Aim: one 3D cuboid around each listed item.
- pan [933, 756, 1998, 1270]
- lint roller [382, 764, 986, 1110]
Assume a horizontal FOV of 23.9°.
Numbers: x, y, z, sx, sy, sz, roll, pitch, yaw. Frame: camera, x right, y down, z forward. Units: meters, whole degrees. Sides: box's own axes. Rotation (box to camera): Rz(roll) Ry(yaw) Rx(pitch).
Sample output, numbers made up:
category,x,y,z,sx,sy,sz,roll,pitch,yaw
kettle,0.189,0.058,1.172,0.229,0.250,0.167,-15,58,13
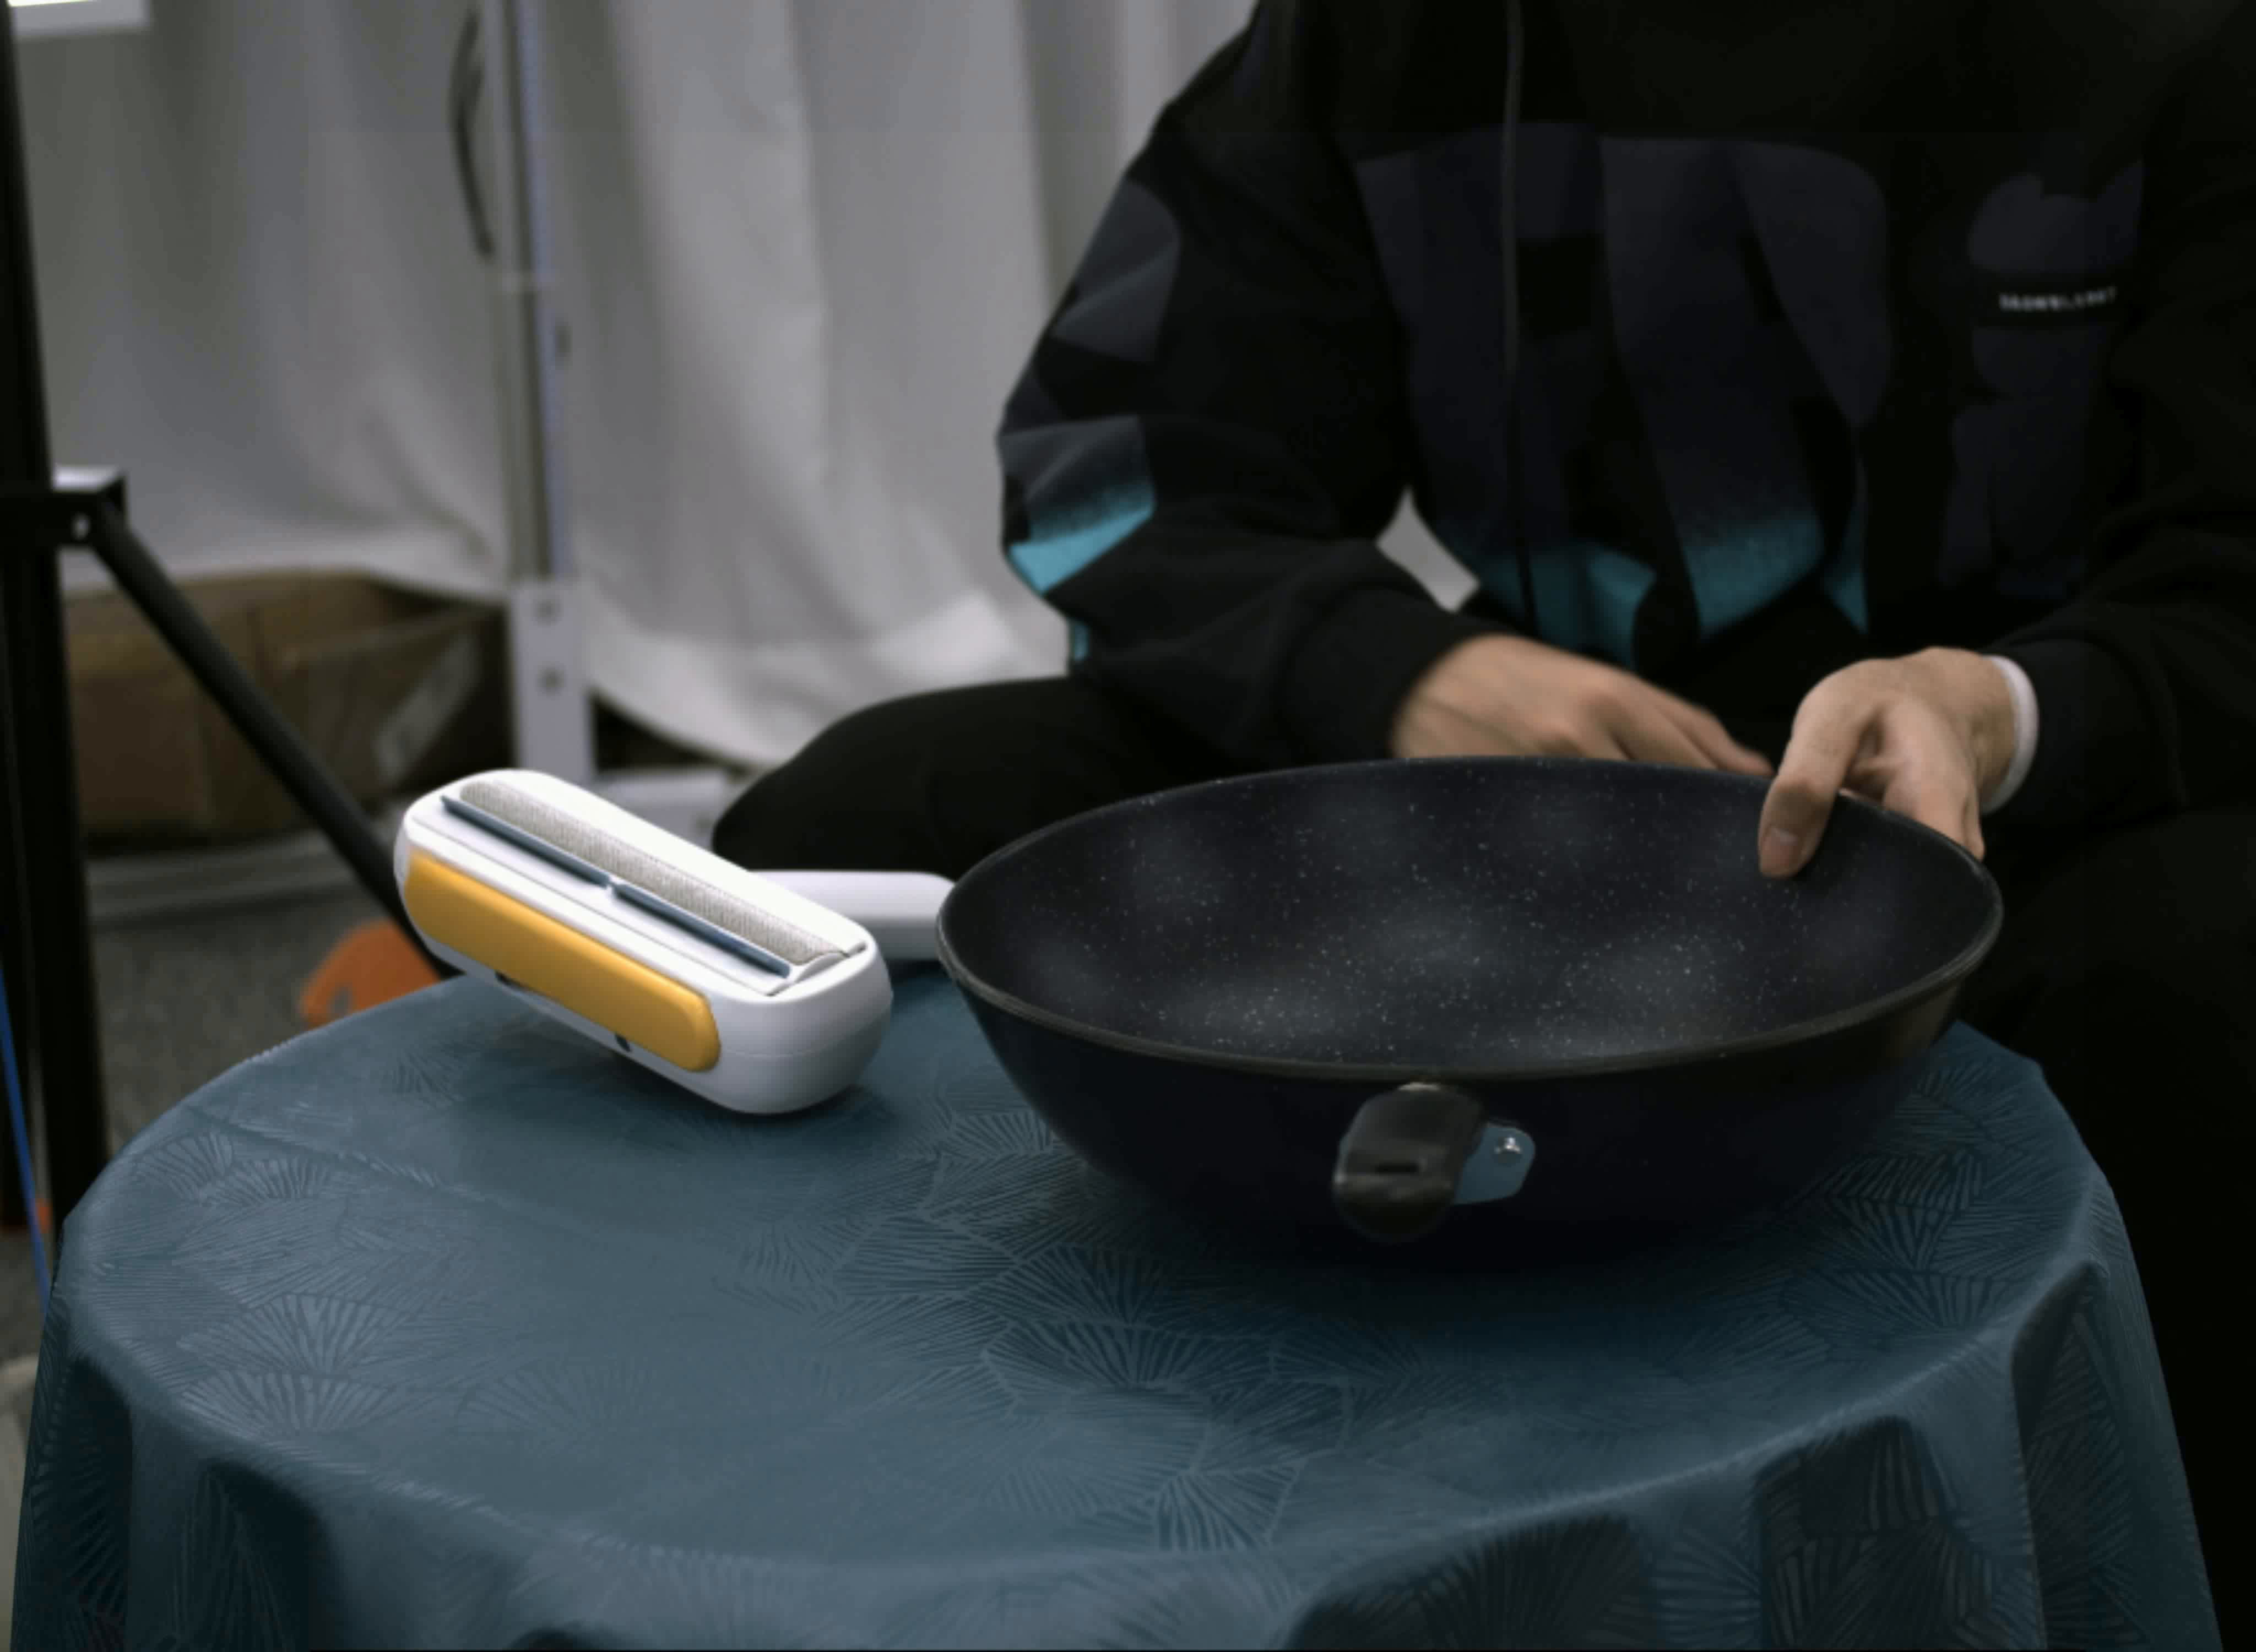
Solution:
category,x,y,z,sx,sy,sz,roll,pitch,yaw
pan,0.090,0.073,1.469,0.311,0.111,0.476,-3,15,7
lint roller,-0.119,0.029,1.733,0.188,0.074,0.197,-14,25,-40
